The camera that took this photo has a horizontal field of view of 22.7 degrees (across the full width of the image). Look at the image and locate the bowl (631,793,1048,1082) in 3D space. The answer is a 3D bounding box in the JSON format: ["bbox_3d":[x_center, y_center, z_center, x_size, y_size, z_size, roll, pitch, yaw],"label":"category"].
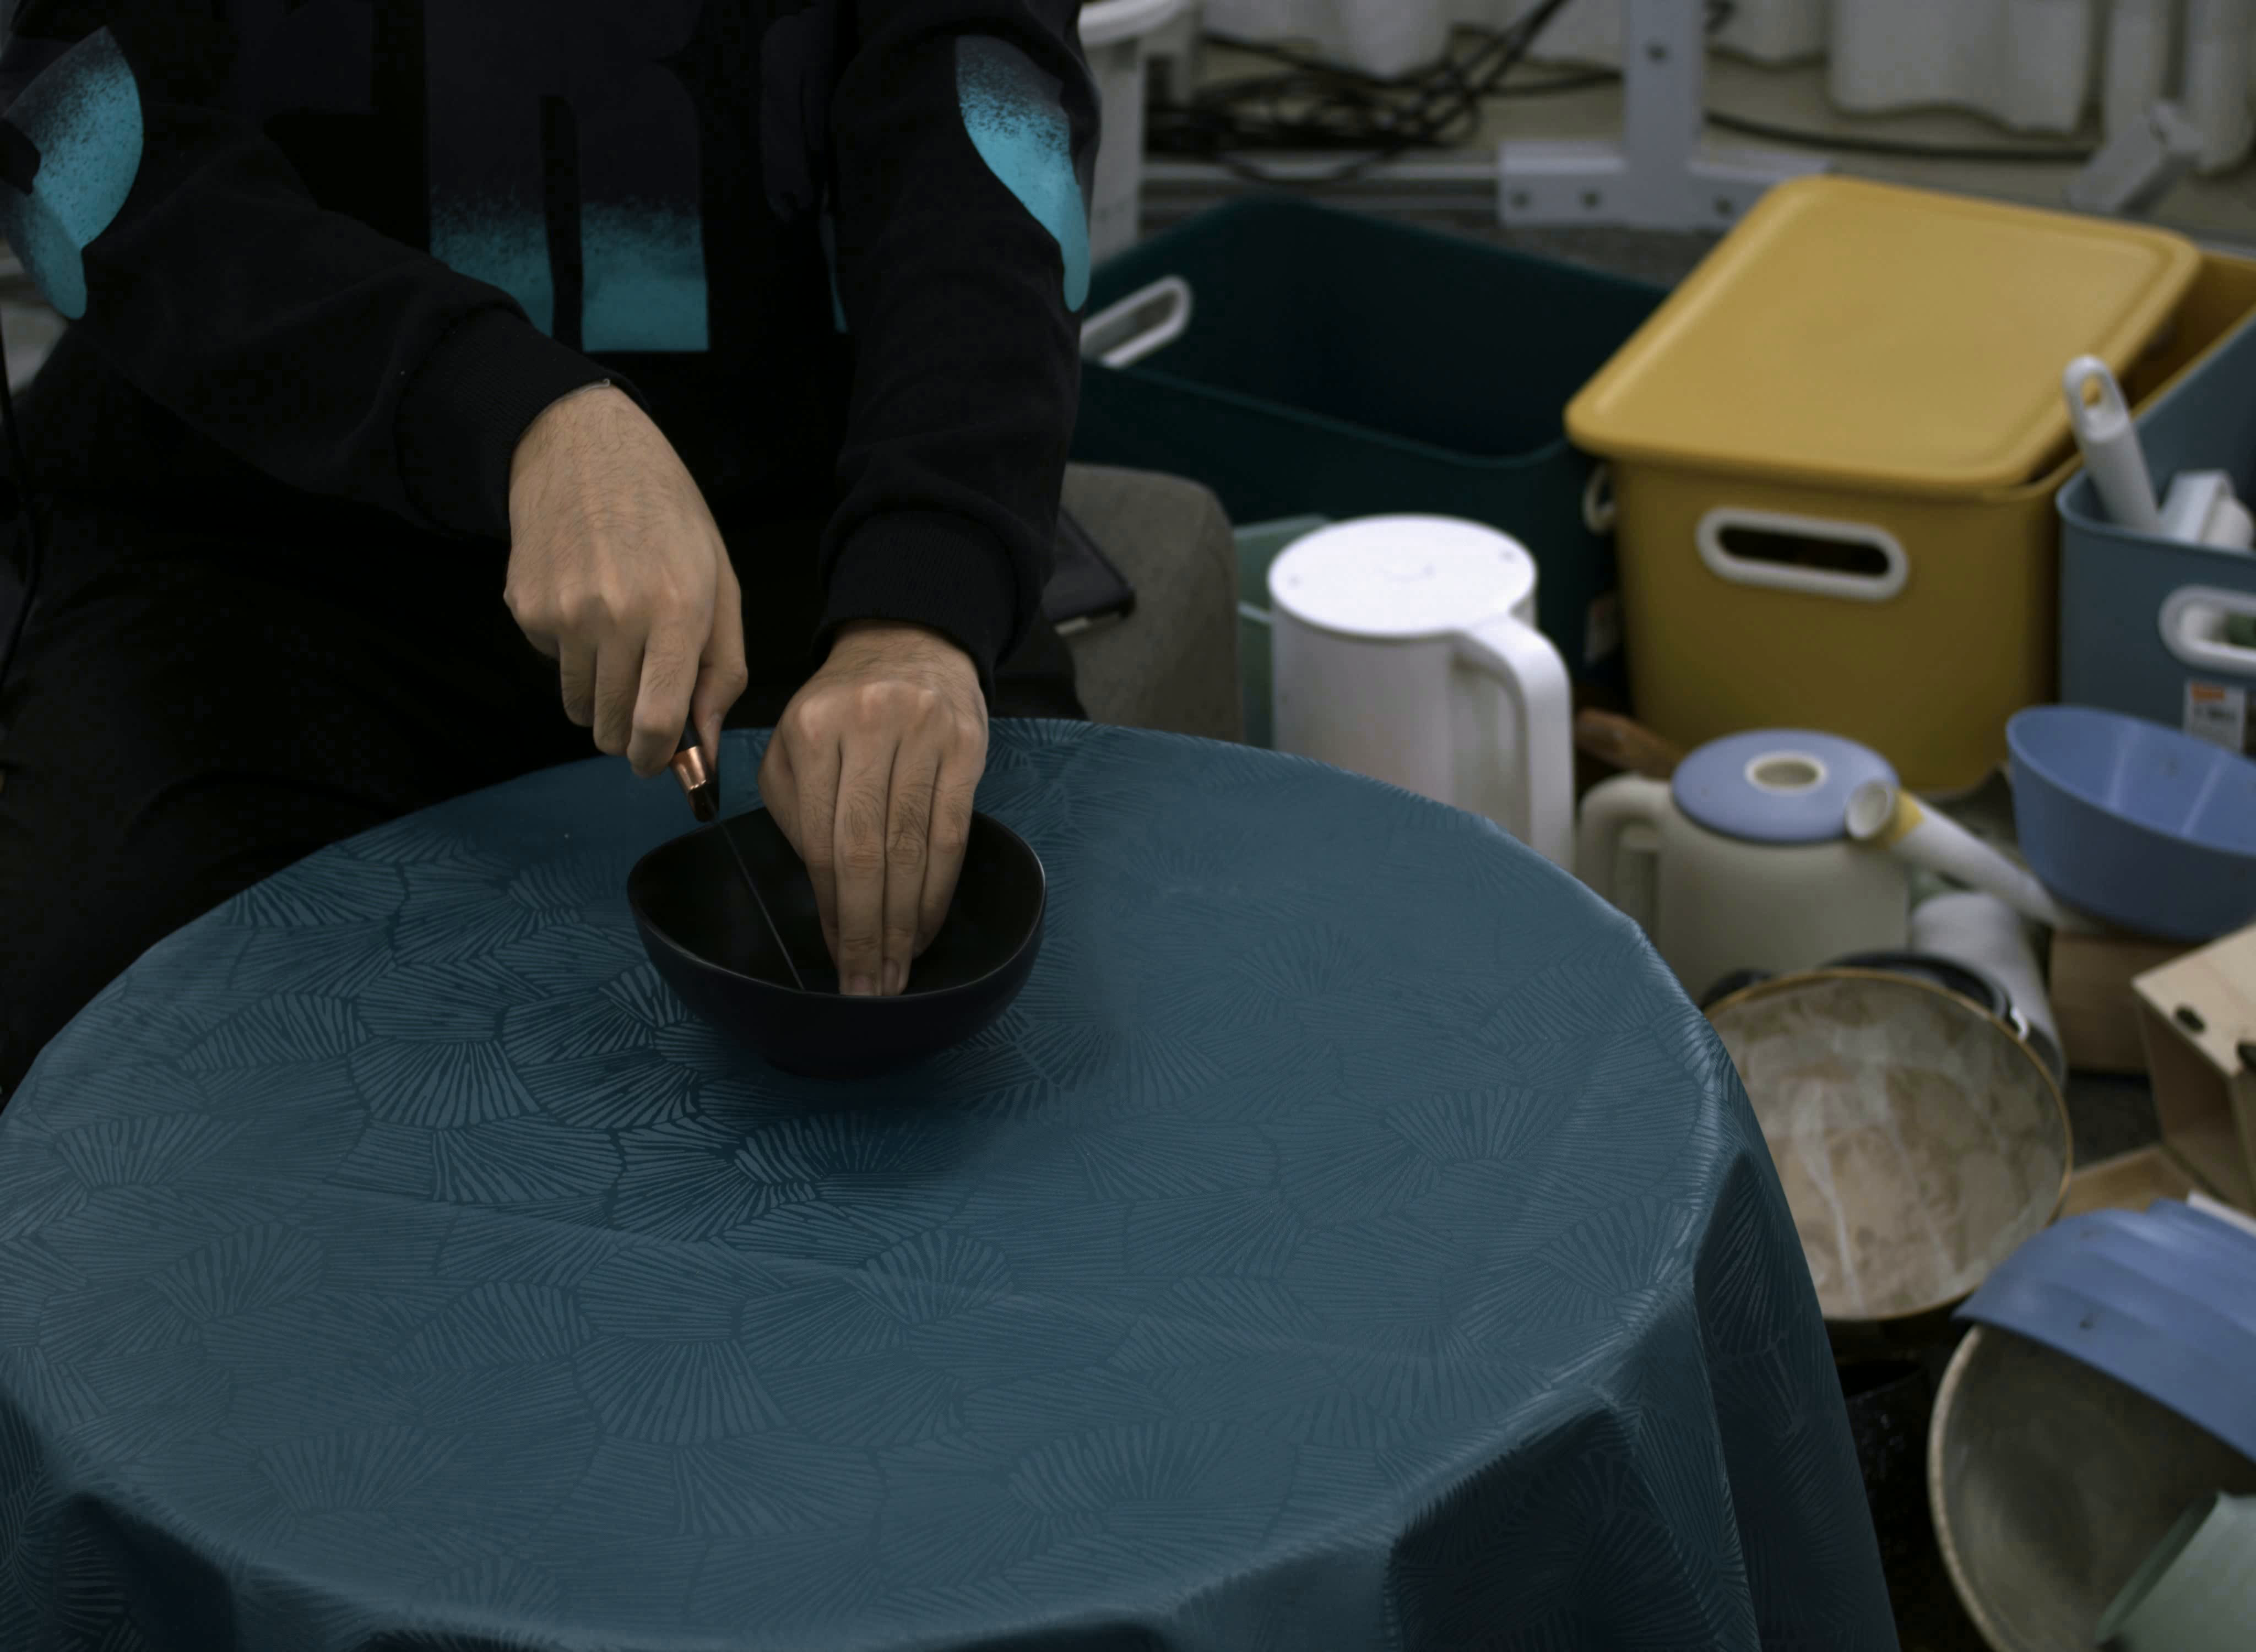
[{"bbox_3d":[-0.100,0.046,1.948,0.138,0.066,0.170,-20,30,-31],"label":"bowl"}]

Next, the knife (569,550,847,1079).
[{"bbox_3d":[-0.146,-0.006,1.972,0.017,0.026,0.228,-24,63,-10],"label":"knife"}]
